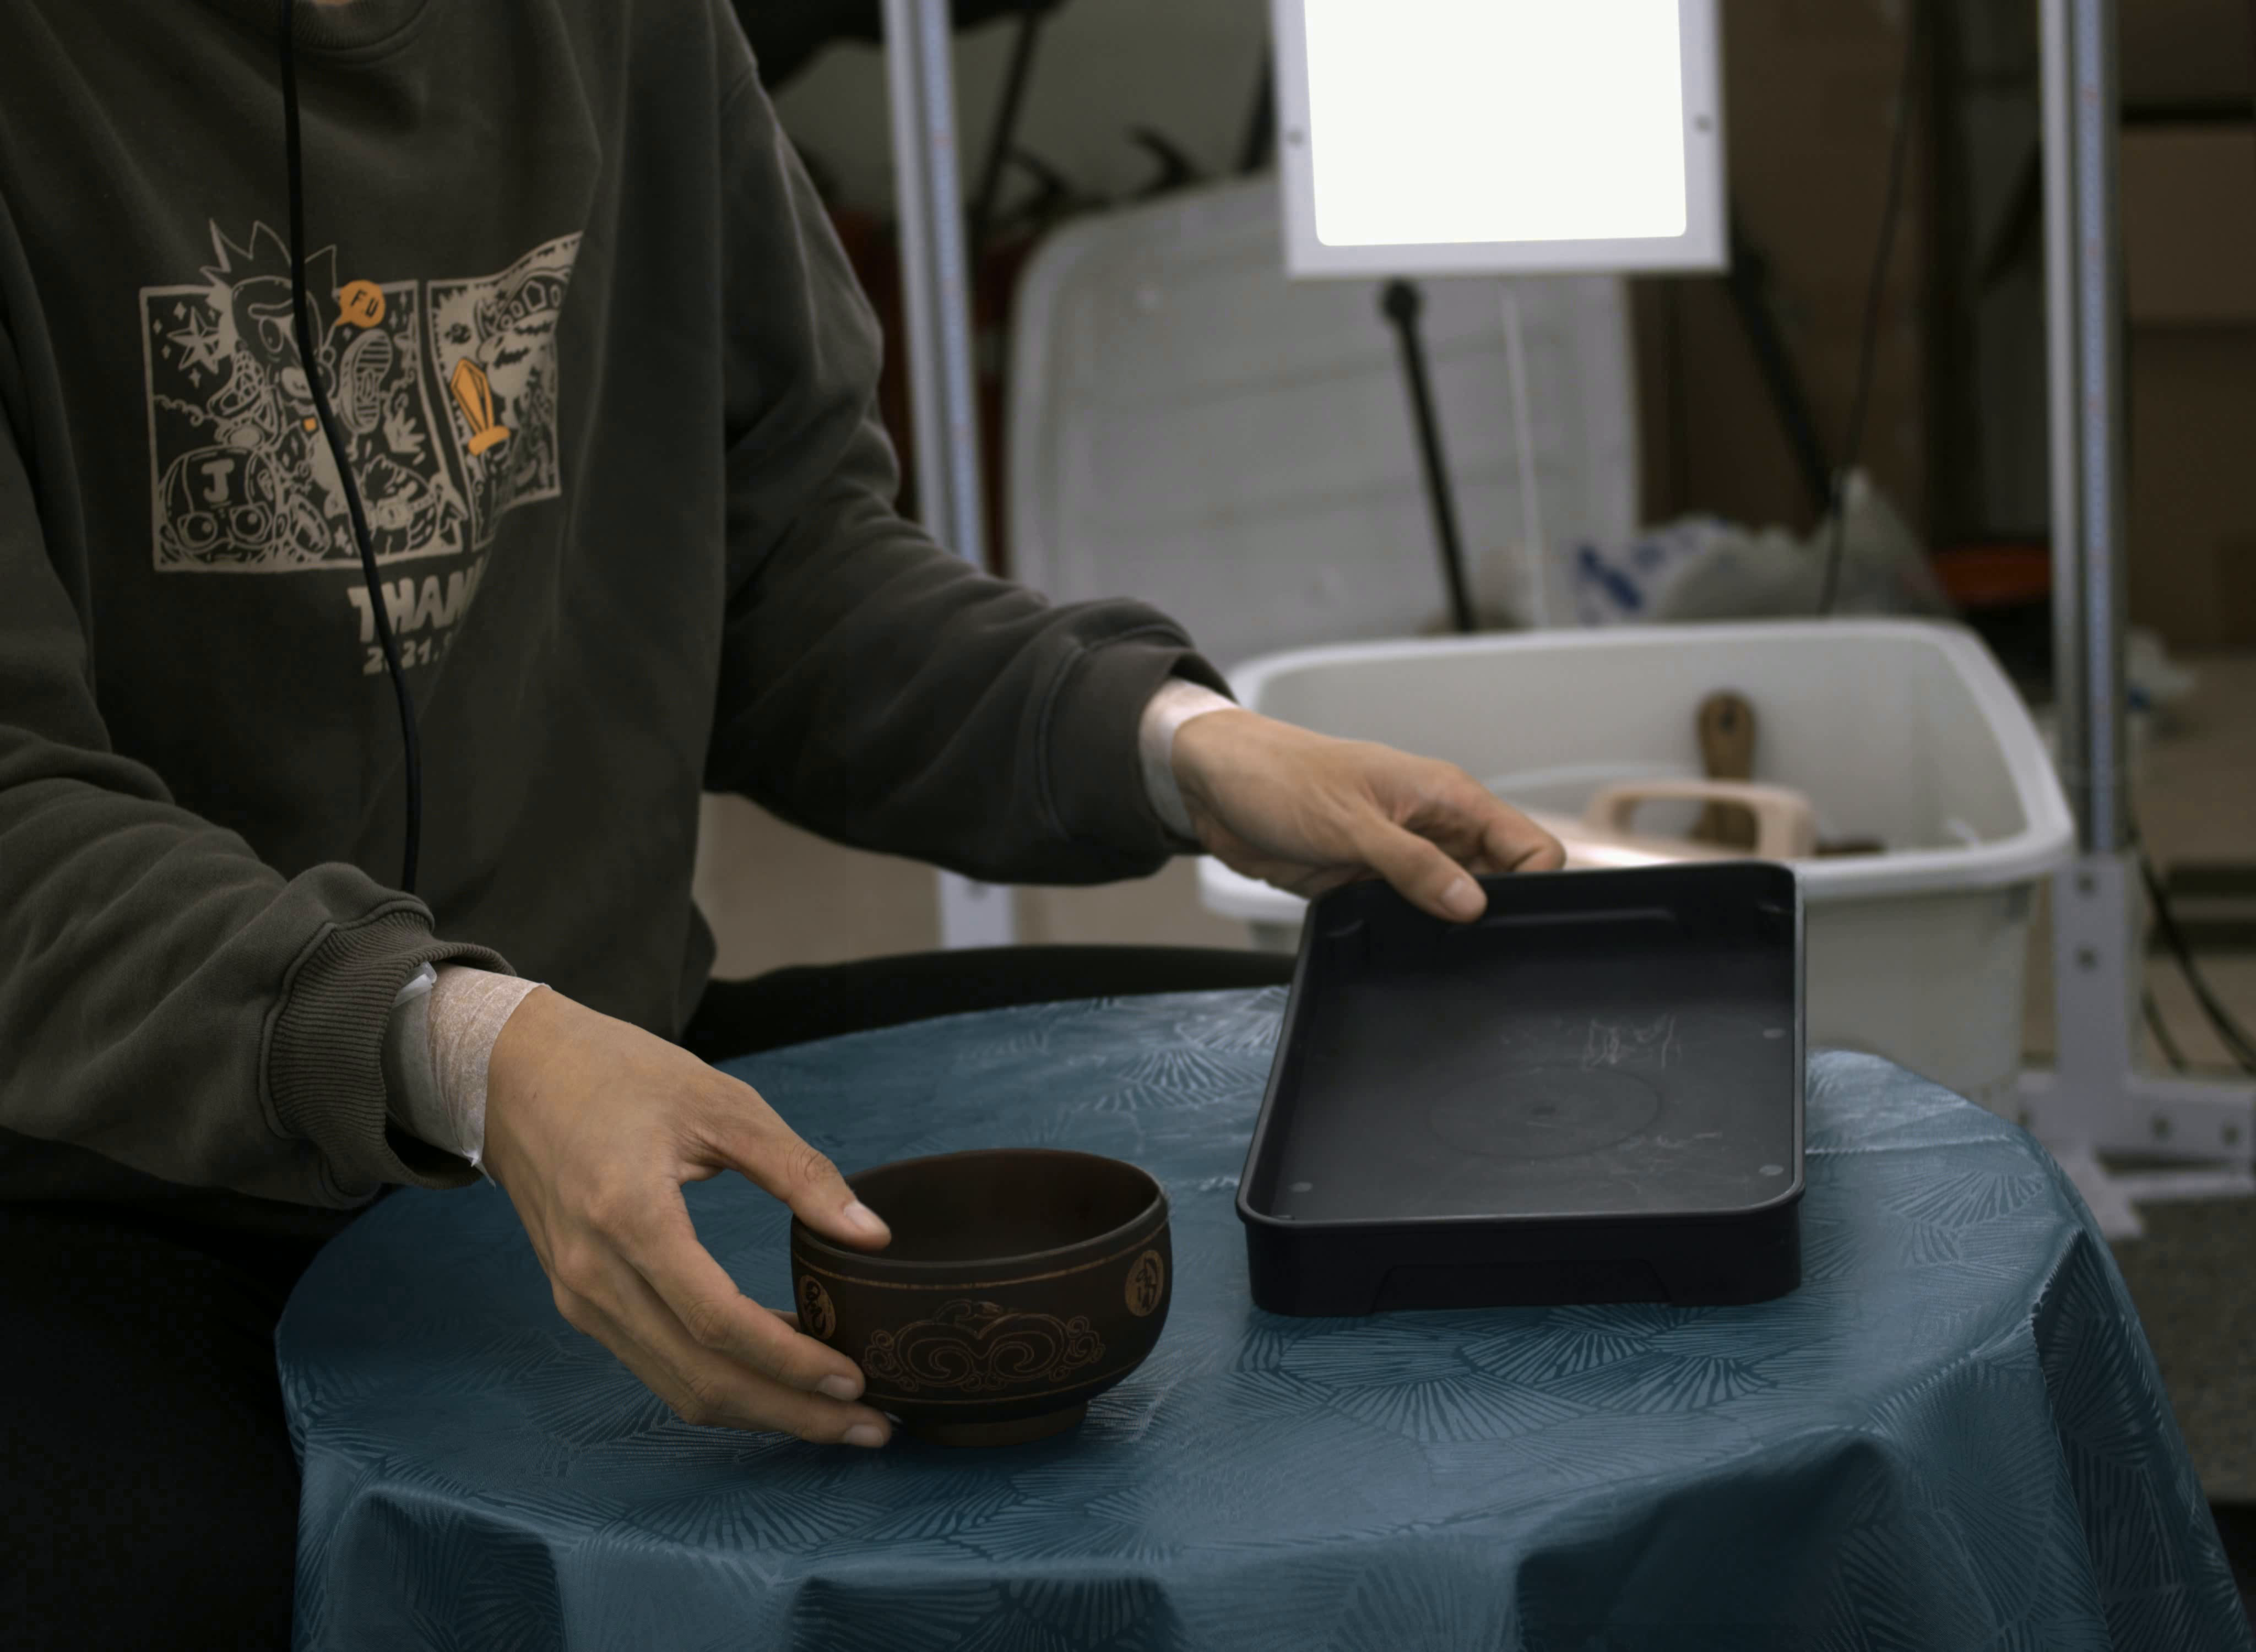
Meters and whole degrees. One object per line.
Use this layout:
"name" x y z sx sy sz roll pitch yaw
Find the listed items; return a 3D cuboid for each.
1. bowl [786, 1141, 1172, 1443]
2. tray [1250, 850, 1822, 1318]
"bowl" -0.044 0.146 1.683 0.118 0.070 0.118 -7 14 0
"tray" 0.144 0.084 1.884 0.185 0.037 0.315 -5 20 8
